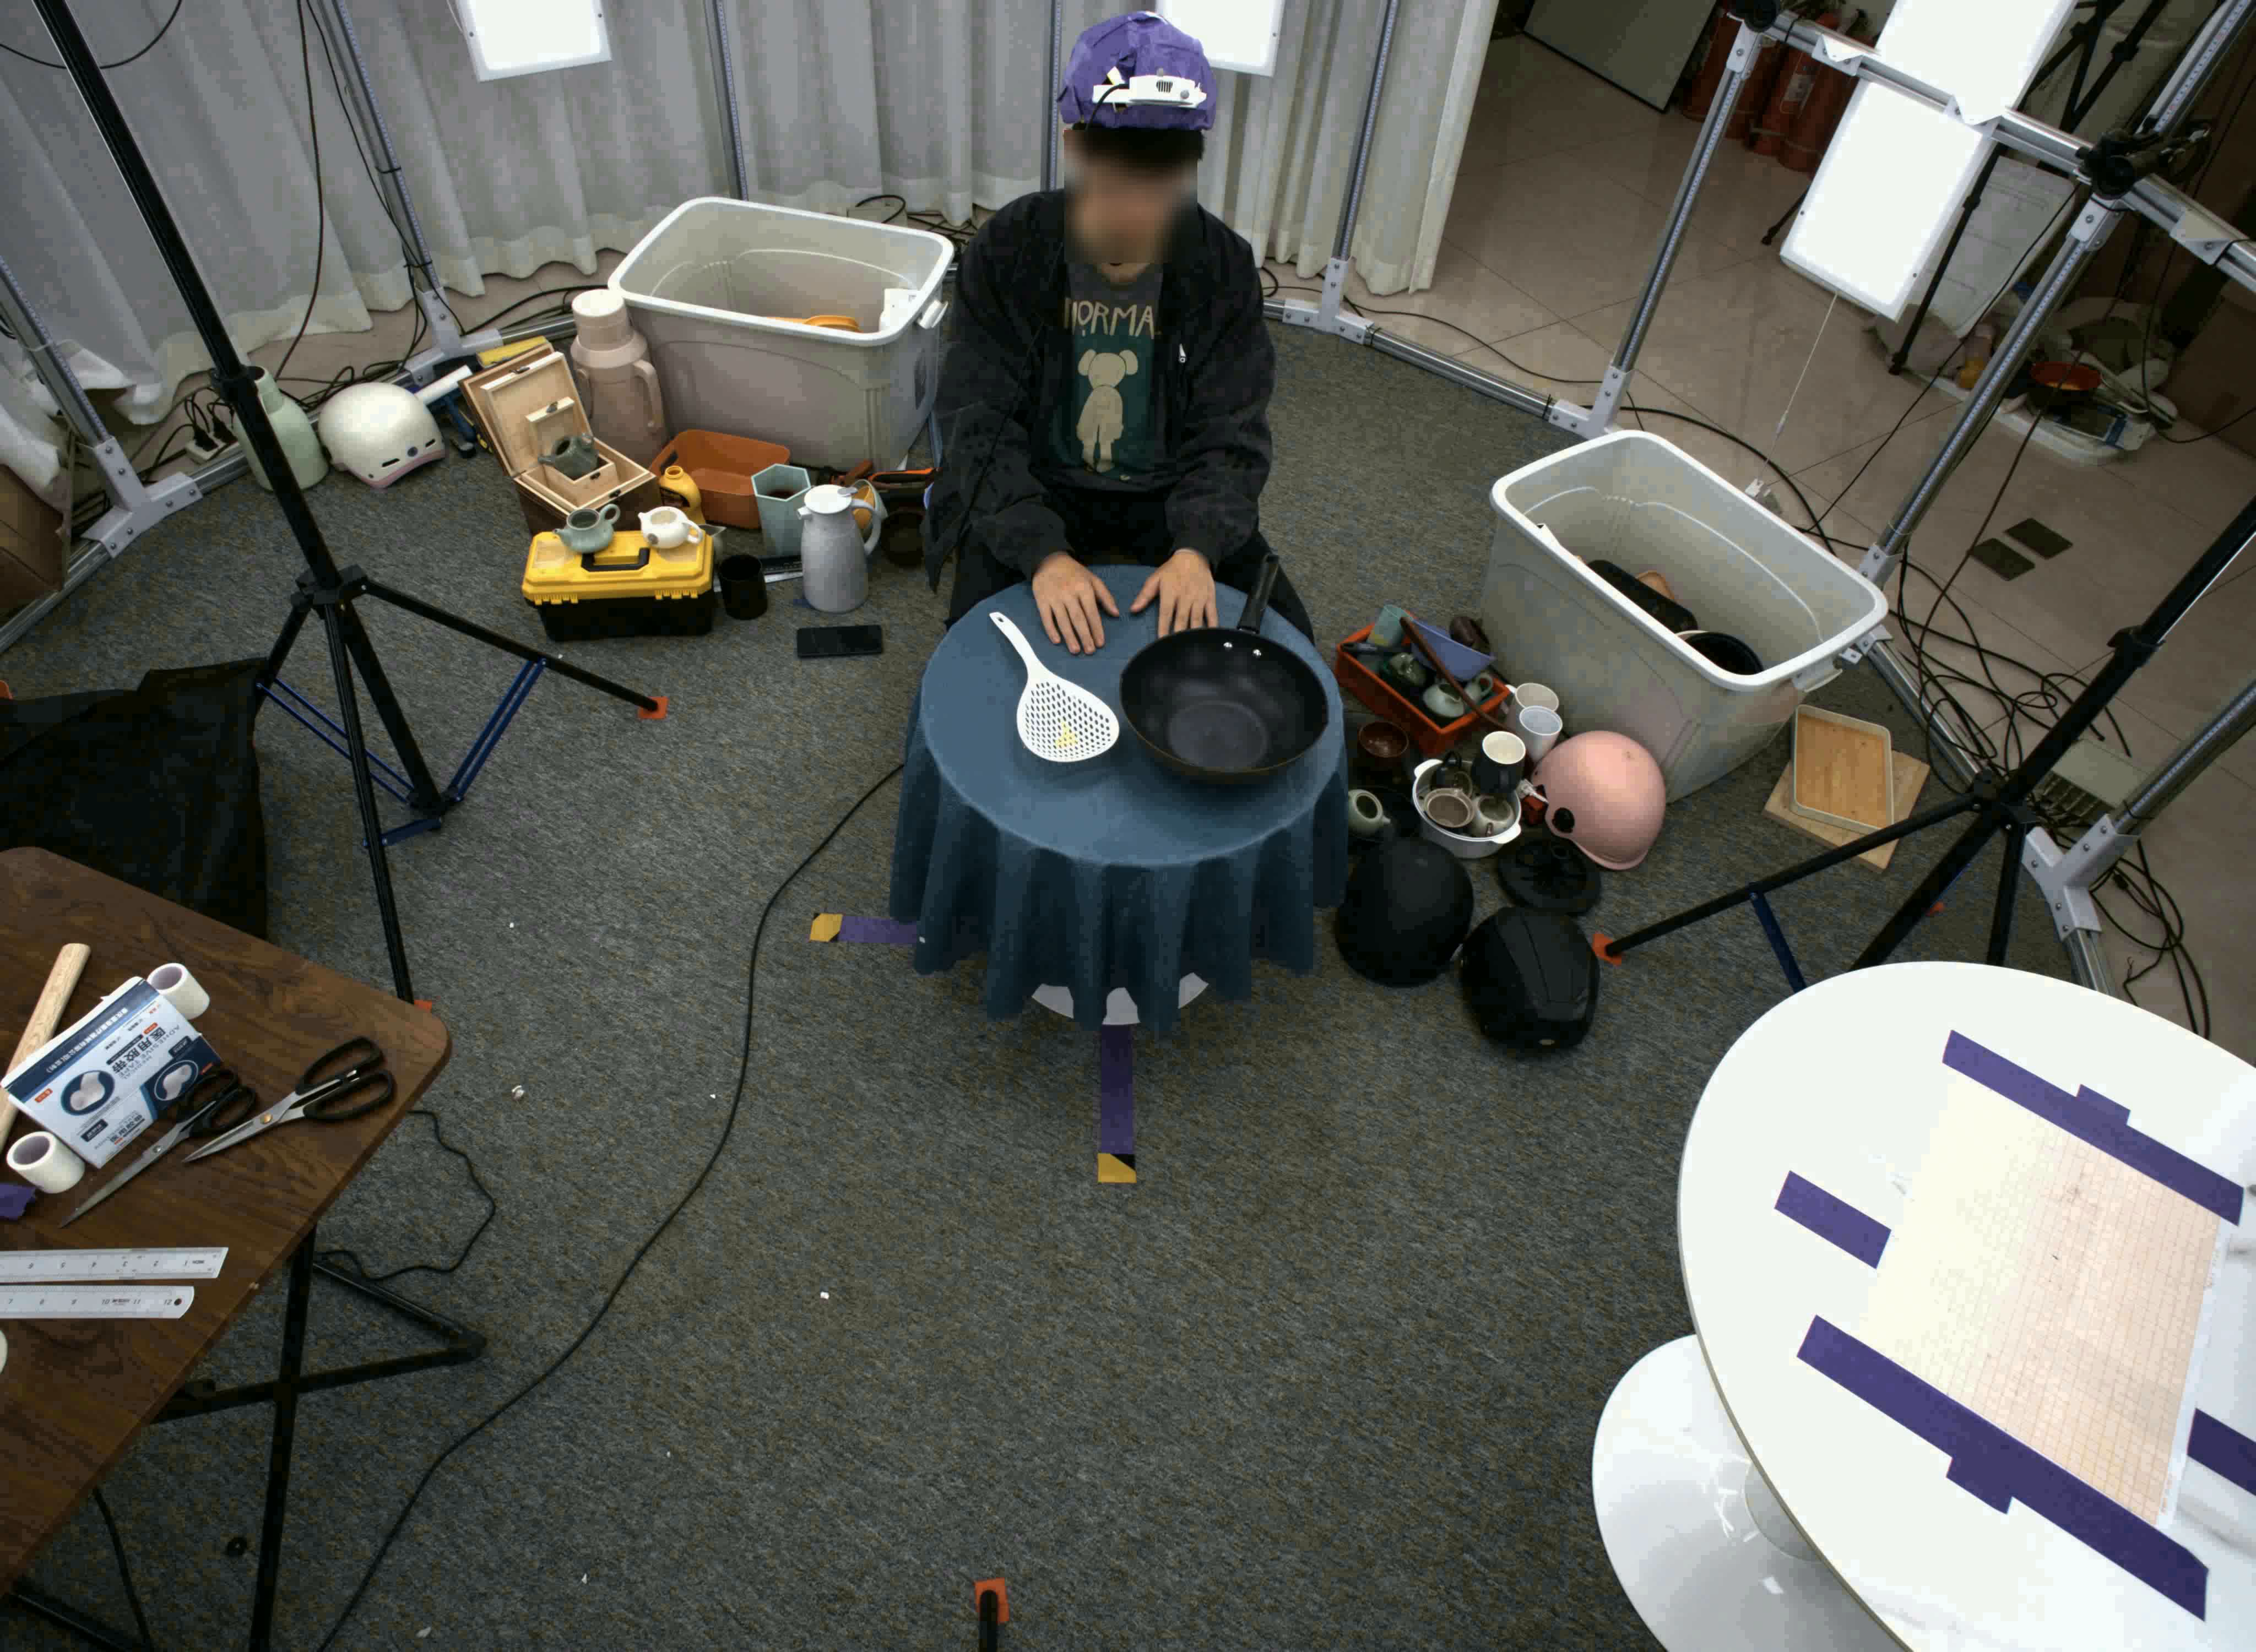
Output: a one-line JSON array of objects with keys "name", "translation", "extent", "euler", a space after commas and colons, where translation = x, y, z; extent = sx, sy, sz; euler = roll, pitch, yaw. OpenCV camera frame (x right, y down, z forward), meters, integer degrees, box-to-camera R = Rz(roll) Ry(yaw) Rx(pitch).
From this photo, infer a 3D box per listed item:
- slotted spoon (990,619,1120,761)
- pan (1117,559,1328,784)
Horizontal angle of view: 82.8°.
[{"name": "slotted spoon", "translation": [-0.124, -0.203, 1.809], "extent": [0.137, 0.049, 0.356], "euler": [-17, 51, -15]}, {"name": "pan", "translation": [0.150, -0.216, 1.811], "extent": [0.289, 0.085, 0.473], "euler": [14, 48, 8]}]
